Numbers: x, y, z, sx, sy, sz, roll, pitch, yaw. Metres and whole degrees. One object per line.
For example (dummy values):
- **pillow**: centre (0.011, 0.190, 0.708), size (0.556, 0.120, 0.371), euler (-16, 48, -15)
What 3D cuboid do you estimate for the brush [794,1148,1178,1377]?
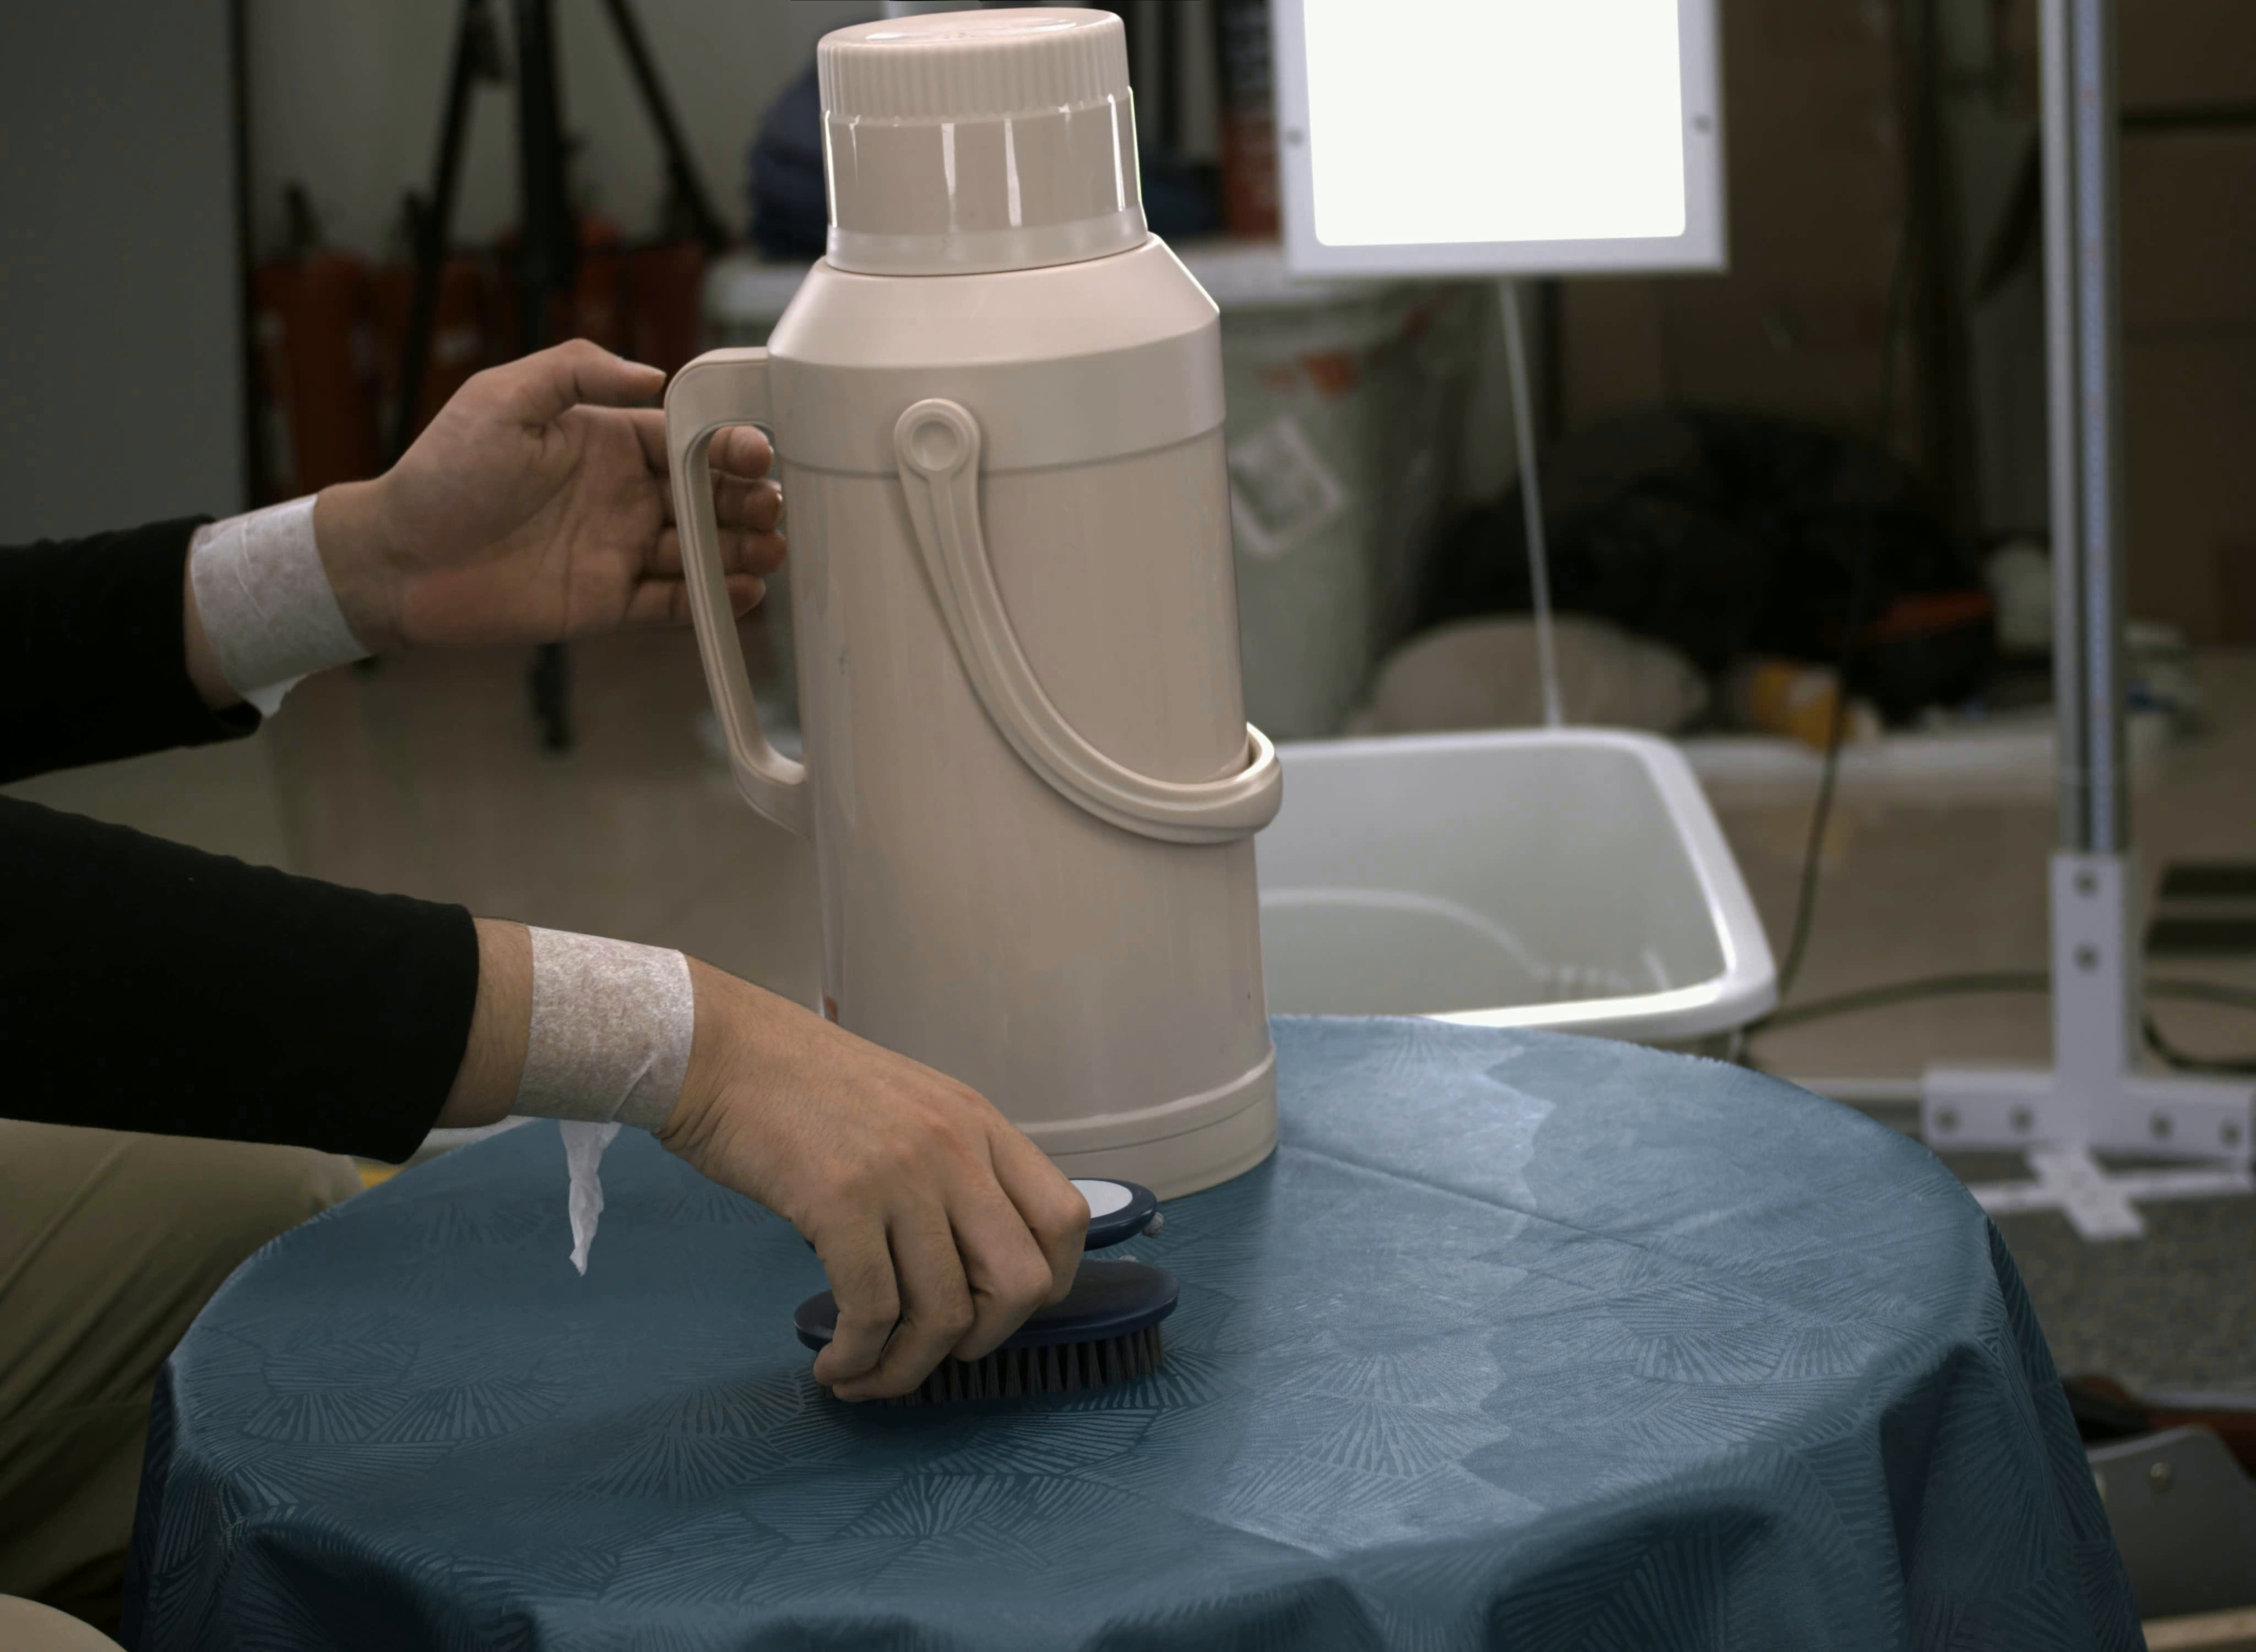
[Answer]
- **brush**: centre (-0.044, 0.138, 1.725), size (0.121, 0.061, 0.067), euler (-5, 16, 4)

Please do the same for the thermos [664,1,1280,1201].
- **thermos**: centre (-0.053, -0.077, 1.913), size (0.209, 0.408, 0.173), euler (-1, 16, 14)
